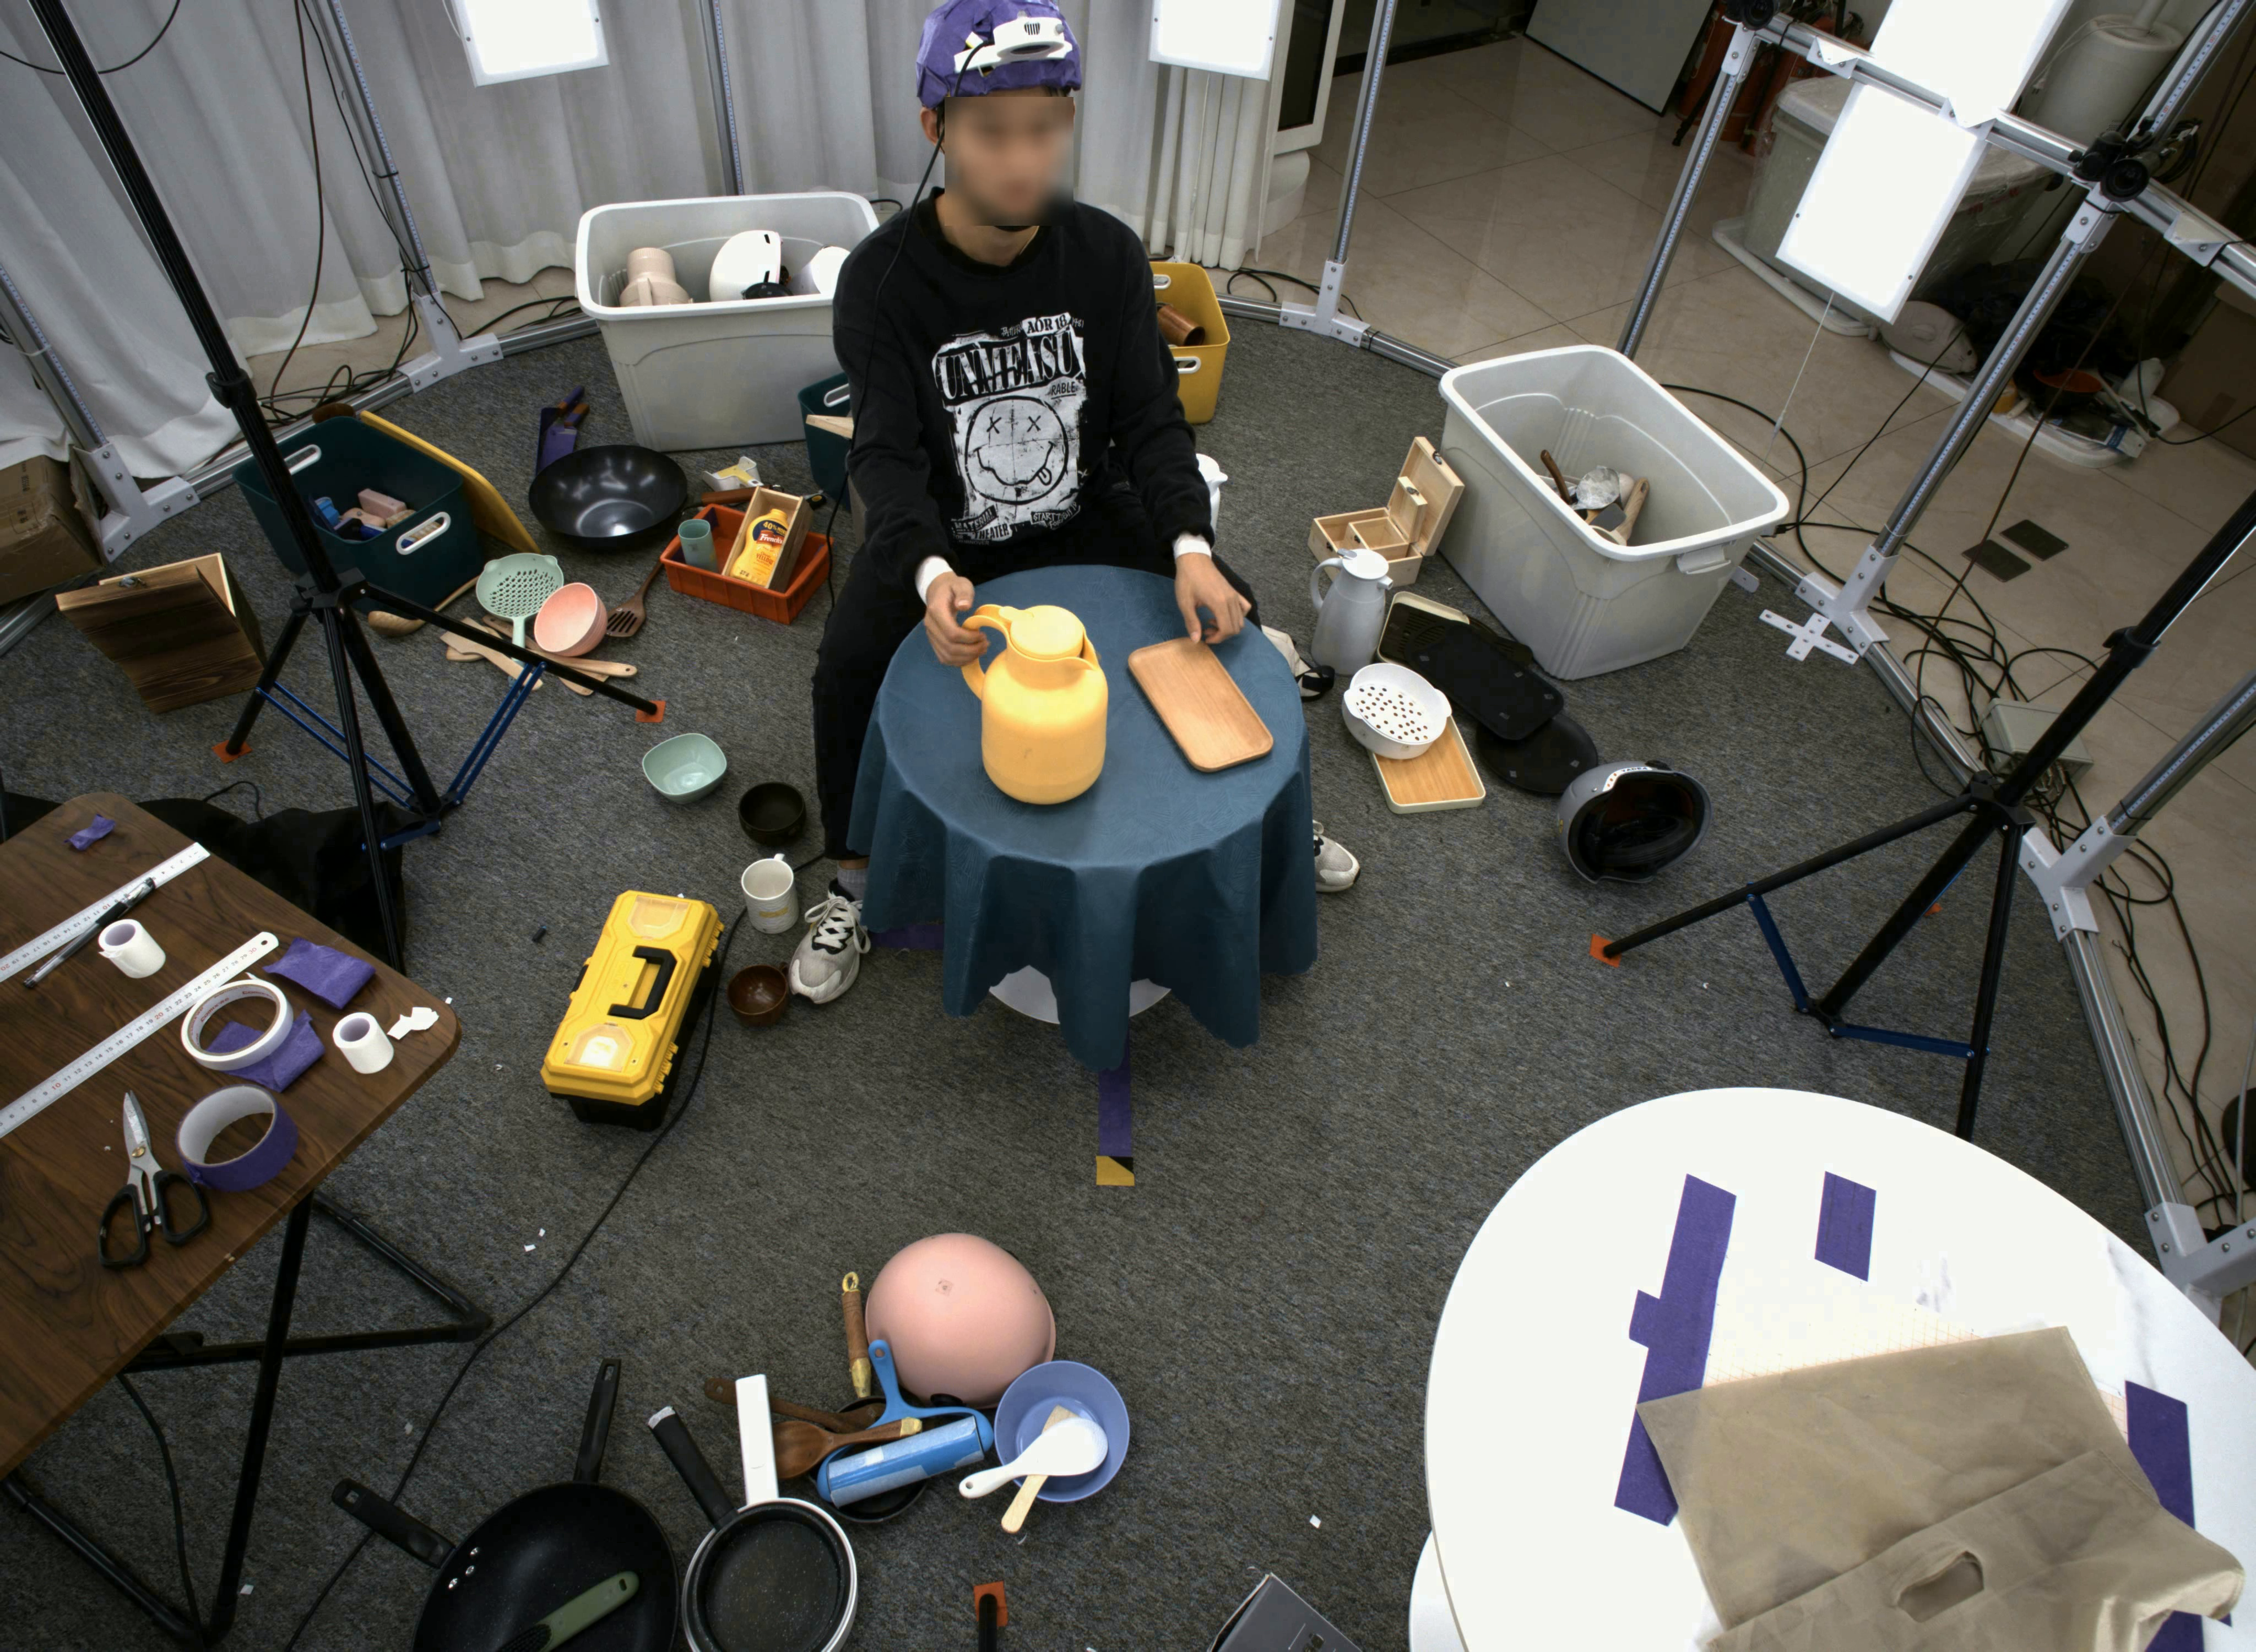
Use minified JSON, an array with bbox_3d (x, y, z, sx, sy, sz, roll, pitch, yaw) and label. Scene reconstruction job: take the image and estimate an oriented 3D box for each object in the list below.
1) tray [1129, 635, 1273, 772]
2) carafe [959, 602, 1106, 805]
[{"bbox_3d":[0.100,-0.177,1.817,0.130,0.022,0.256,-15,51,-19],"label":"tray"},{"bbox_3d":[-0.125,-0.168,1.638,0.204,0.254,0.166,29,51,18],"label":"carafe"}]
